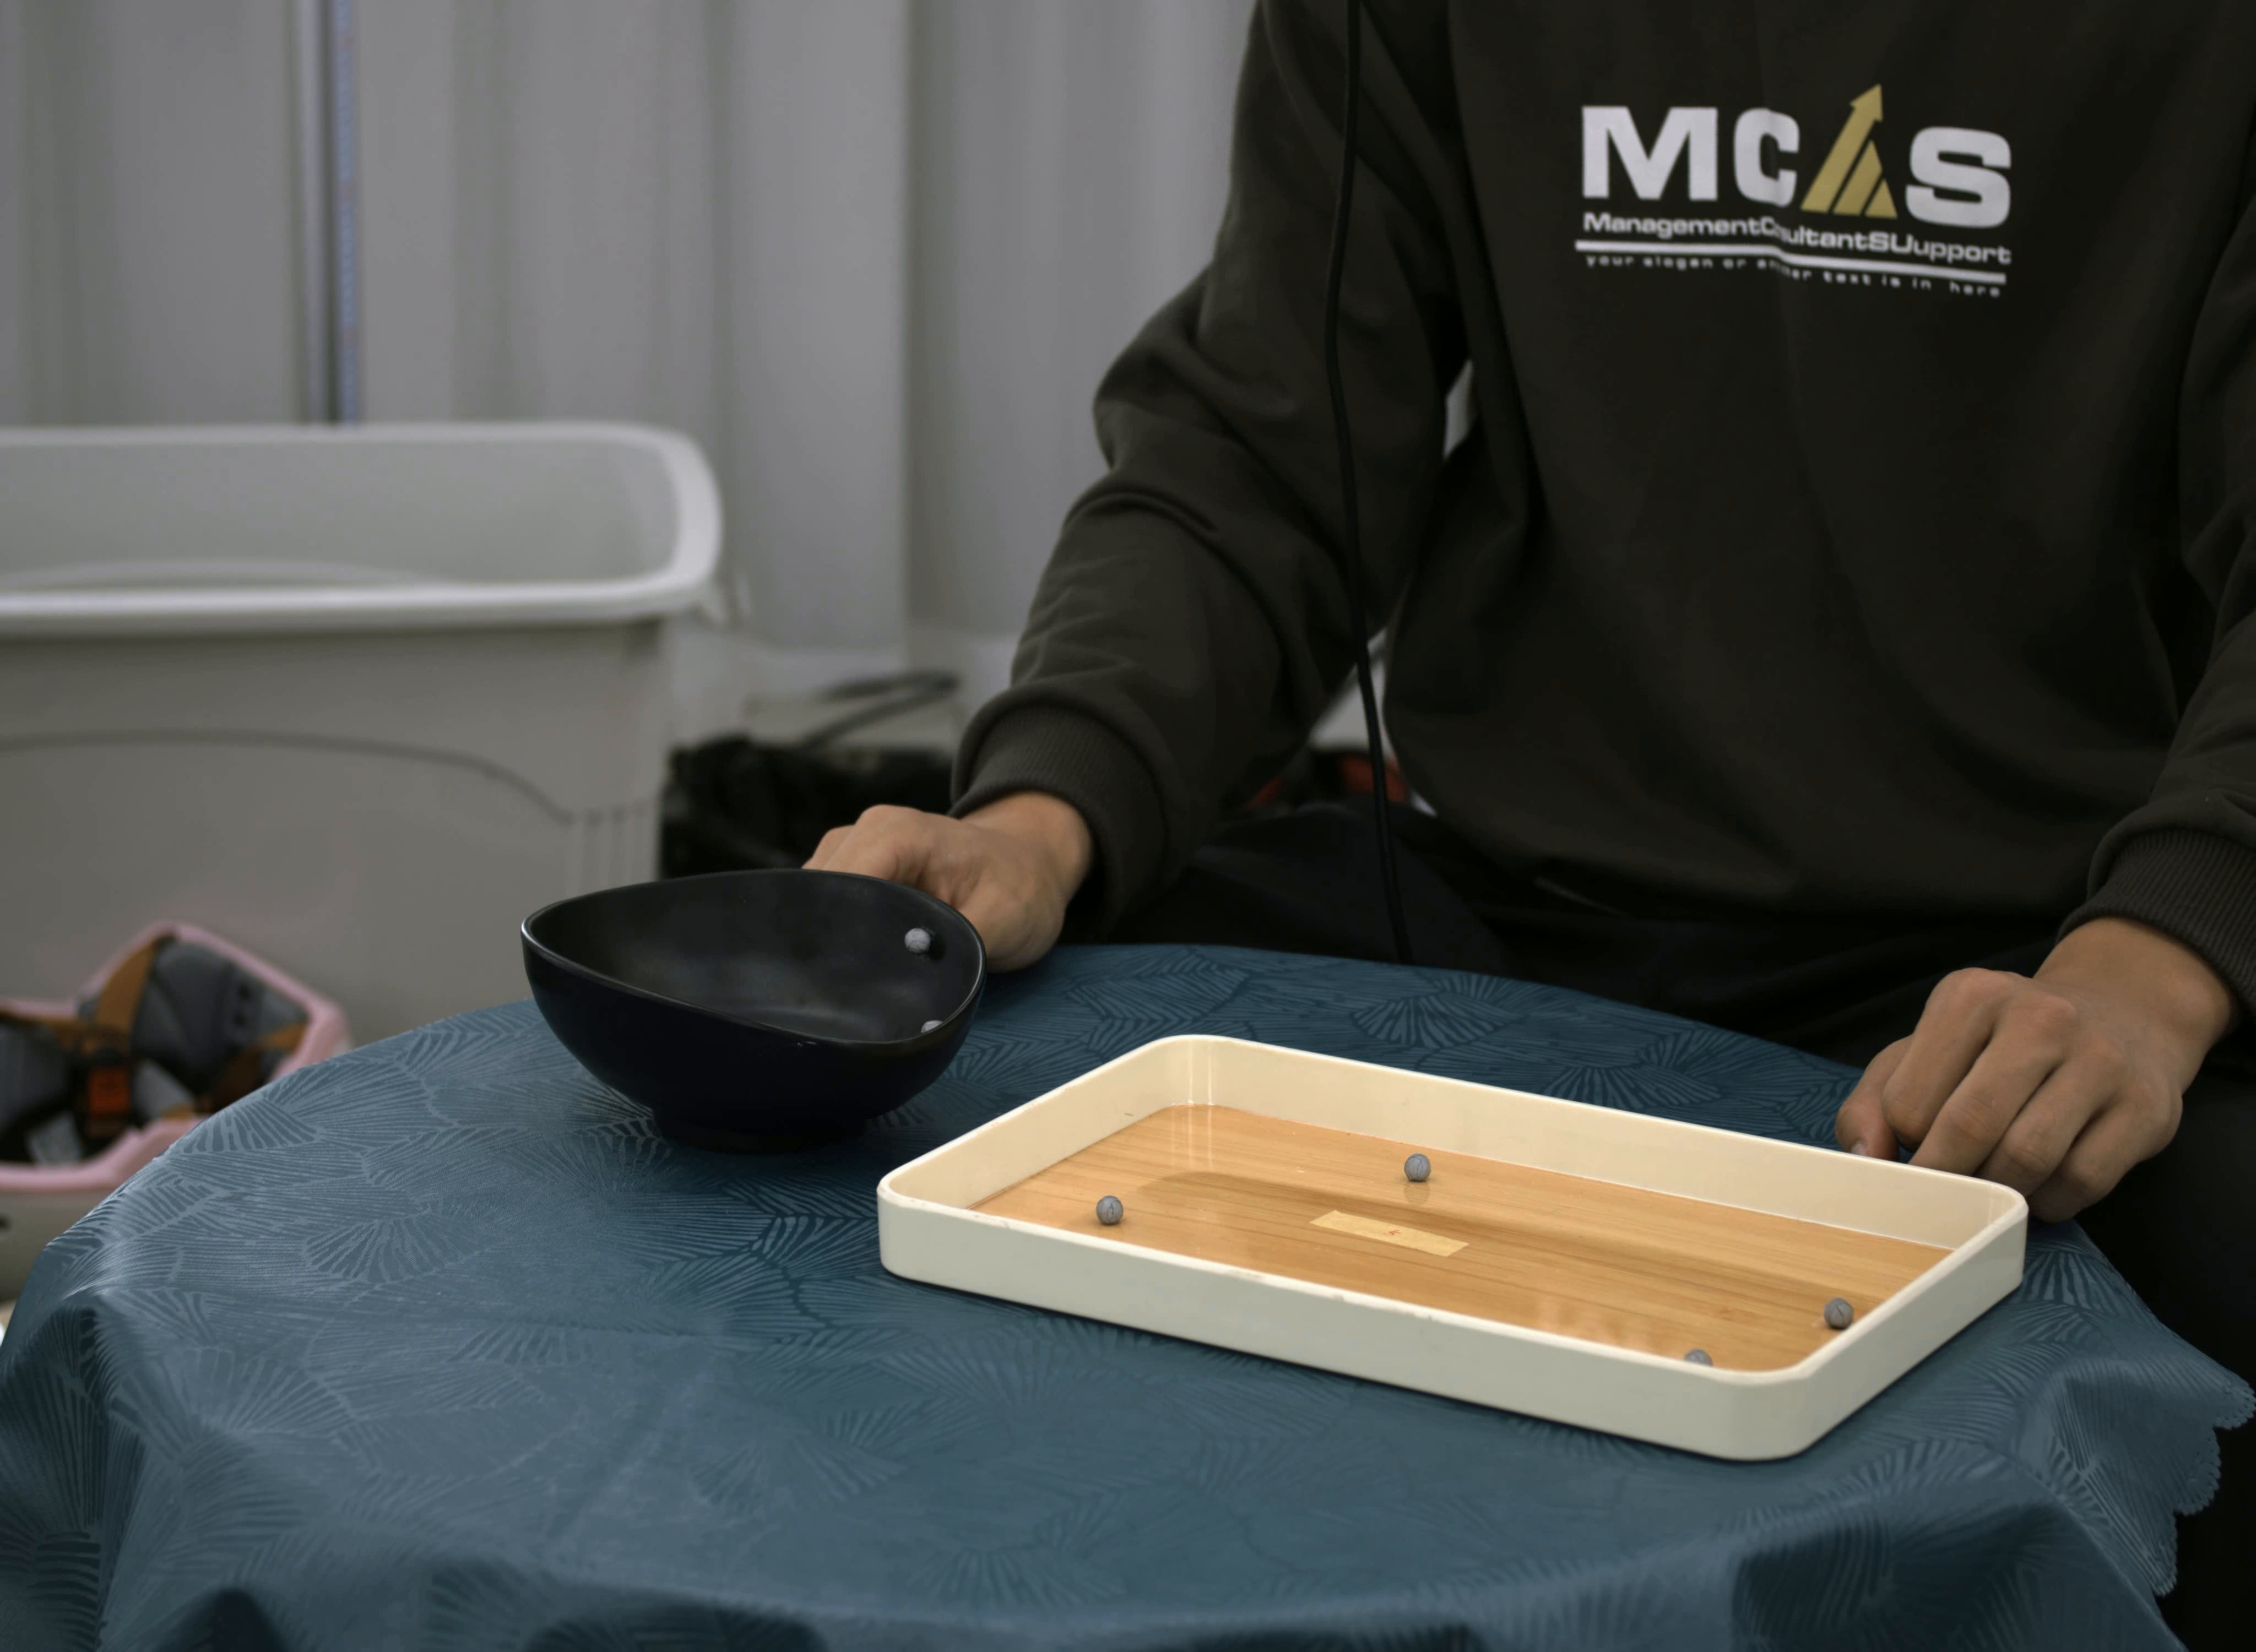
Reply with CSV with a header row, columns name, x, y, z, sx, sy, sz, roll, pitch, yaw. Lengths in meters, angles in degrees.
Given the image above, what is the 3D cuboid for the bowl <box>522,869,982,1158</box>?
name,x,y,z,sx,sy,sz,roll,pitch,yaw
bowl,-0.118,0.064,1.682,0.138,0.067,0.168,-13,23,-38

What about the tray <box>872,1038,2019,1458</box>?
name,x,y,z,sx,sy,sz,roll,pitch,yaw
tray,0.094,0.120,1.559,0.297,0.027,0.192,9,17,29
